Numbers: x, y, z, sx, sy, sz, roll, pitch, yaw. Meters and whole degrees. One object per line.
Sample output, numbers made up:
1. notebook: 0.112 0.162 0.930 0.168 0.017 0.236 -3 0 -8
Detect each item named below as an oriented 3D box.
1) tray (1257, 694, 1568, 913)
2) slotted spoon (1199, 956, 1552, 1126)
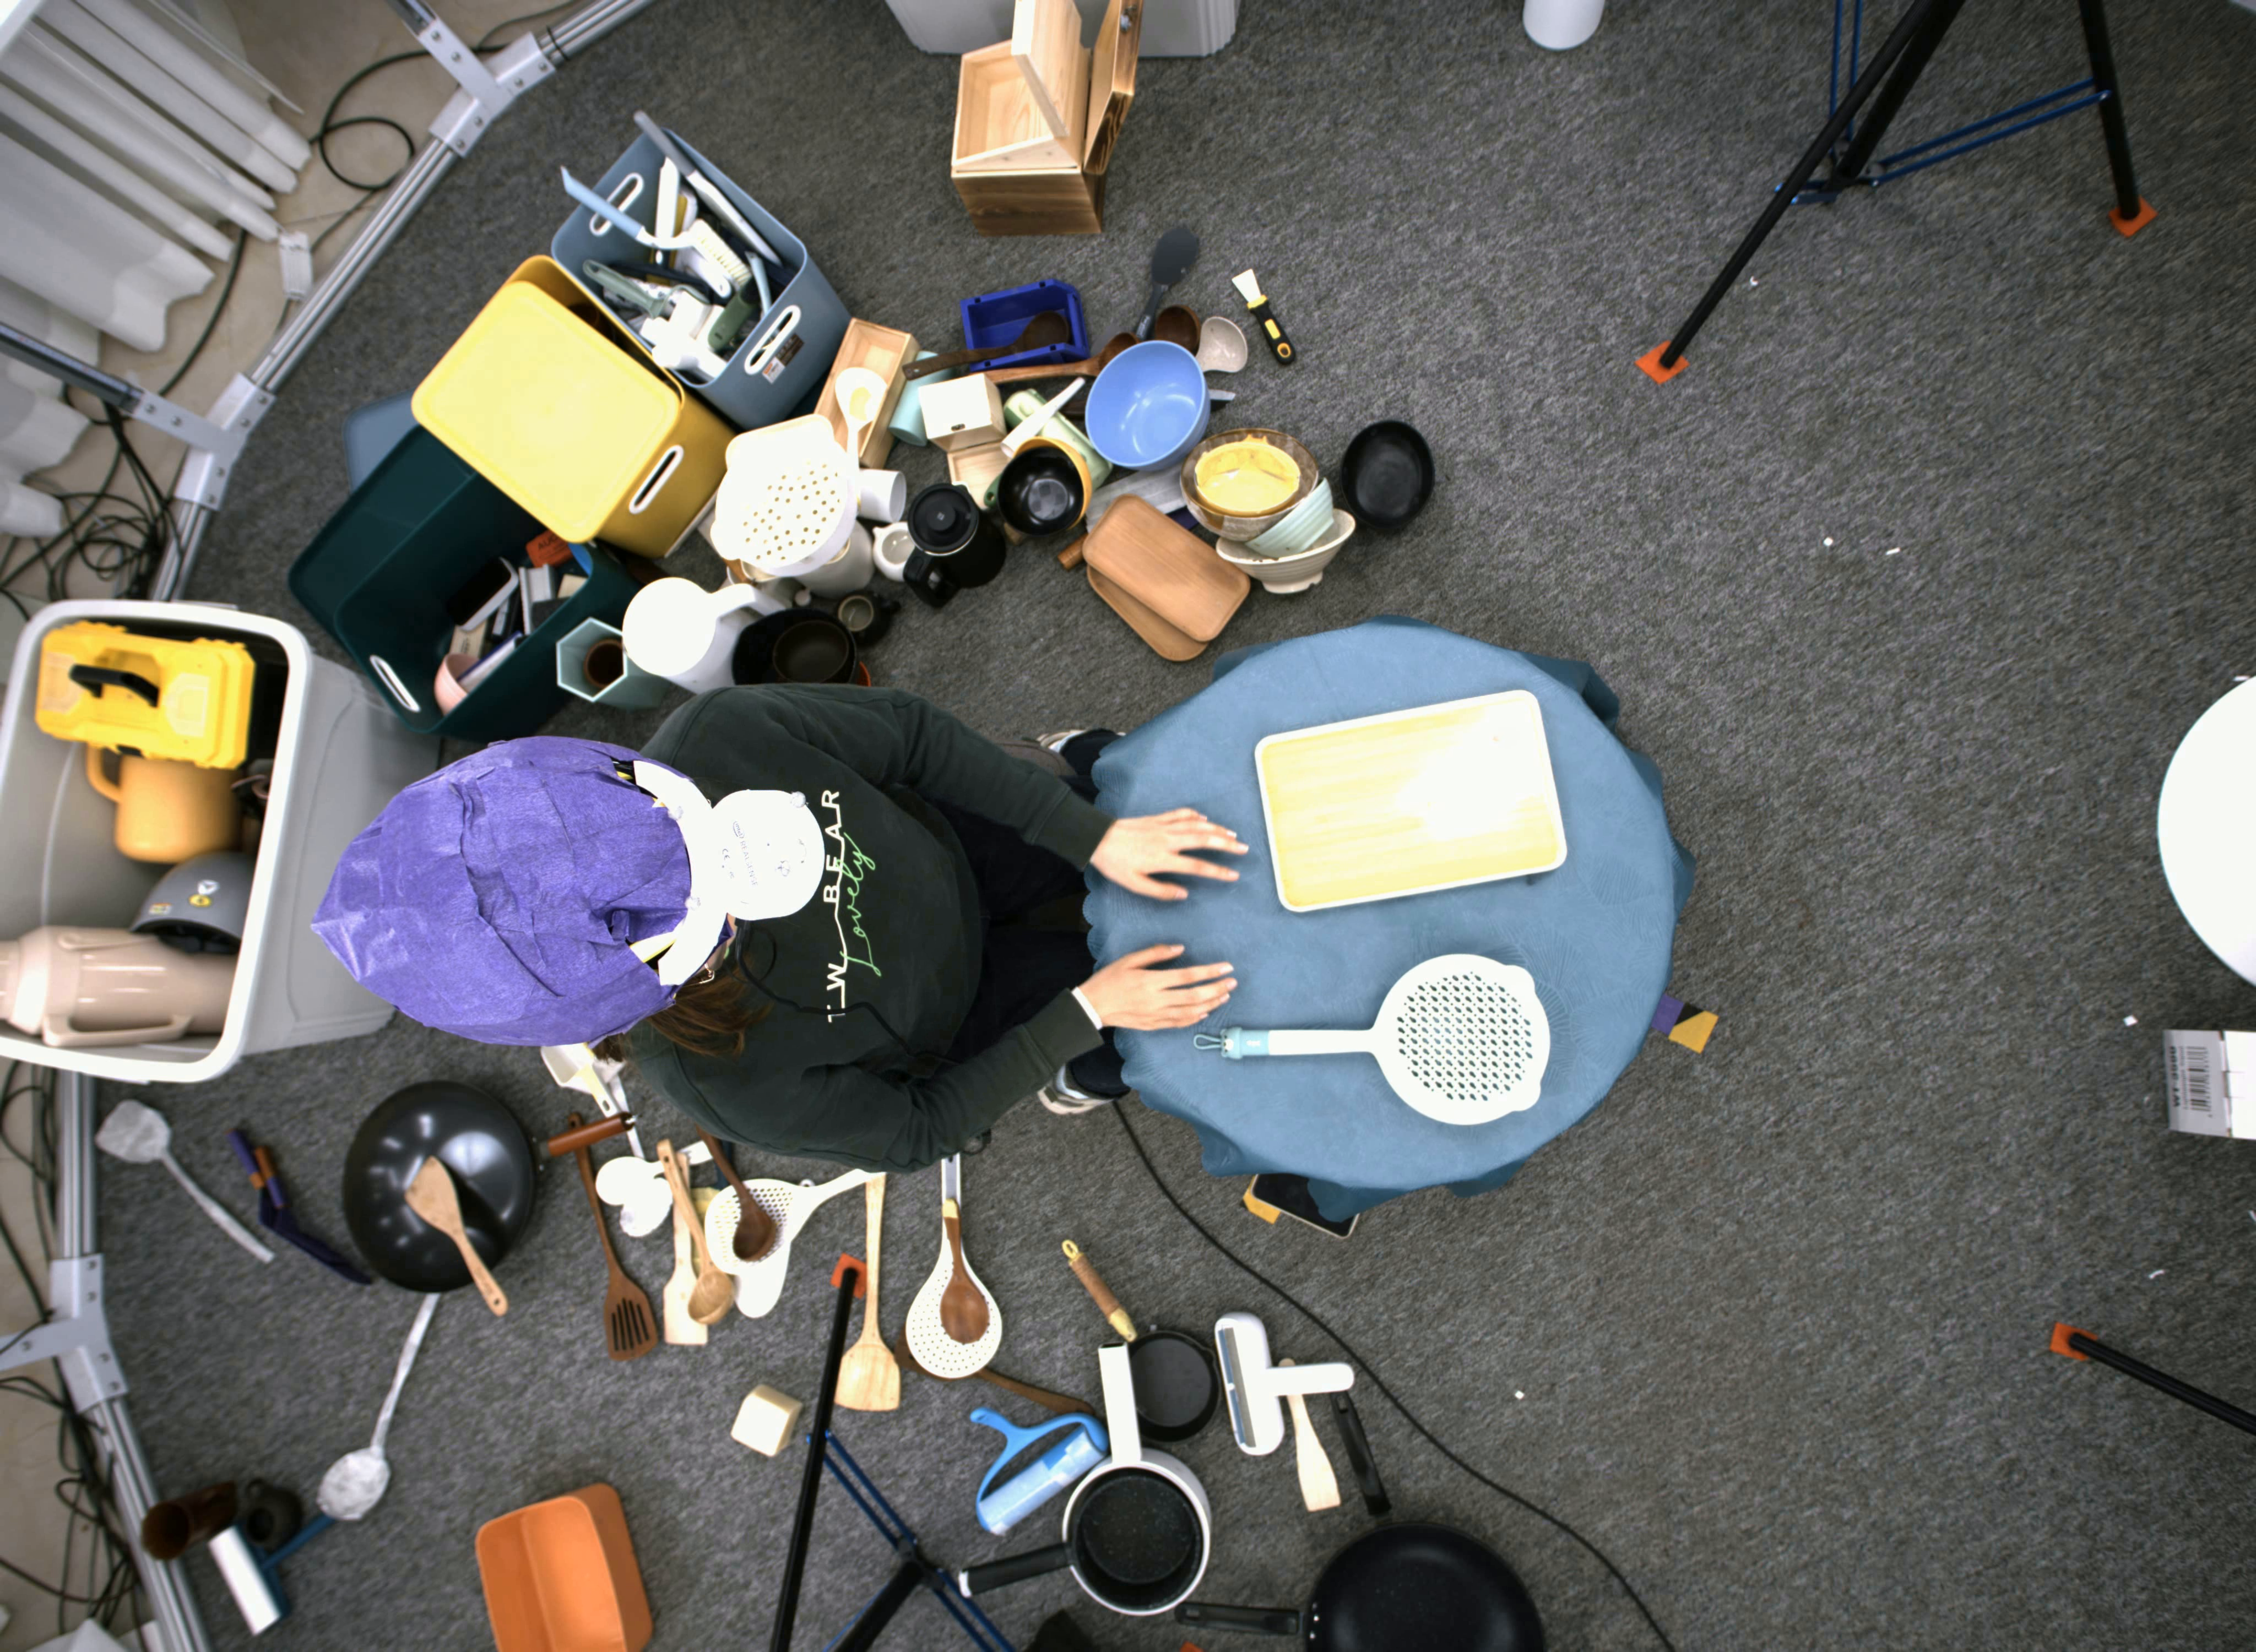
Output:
1. tray: 0.297 -0.024 1.453 0.302 0.027 0.190 -10 84 9
2. slotted spoon: 0.248 0.221 1.426 0.360 0.075 0.168 -3 85 10
